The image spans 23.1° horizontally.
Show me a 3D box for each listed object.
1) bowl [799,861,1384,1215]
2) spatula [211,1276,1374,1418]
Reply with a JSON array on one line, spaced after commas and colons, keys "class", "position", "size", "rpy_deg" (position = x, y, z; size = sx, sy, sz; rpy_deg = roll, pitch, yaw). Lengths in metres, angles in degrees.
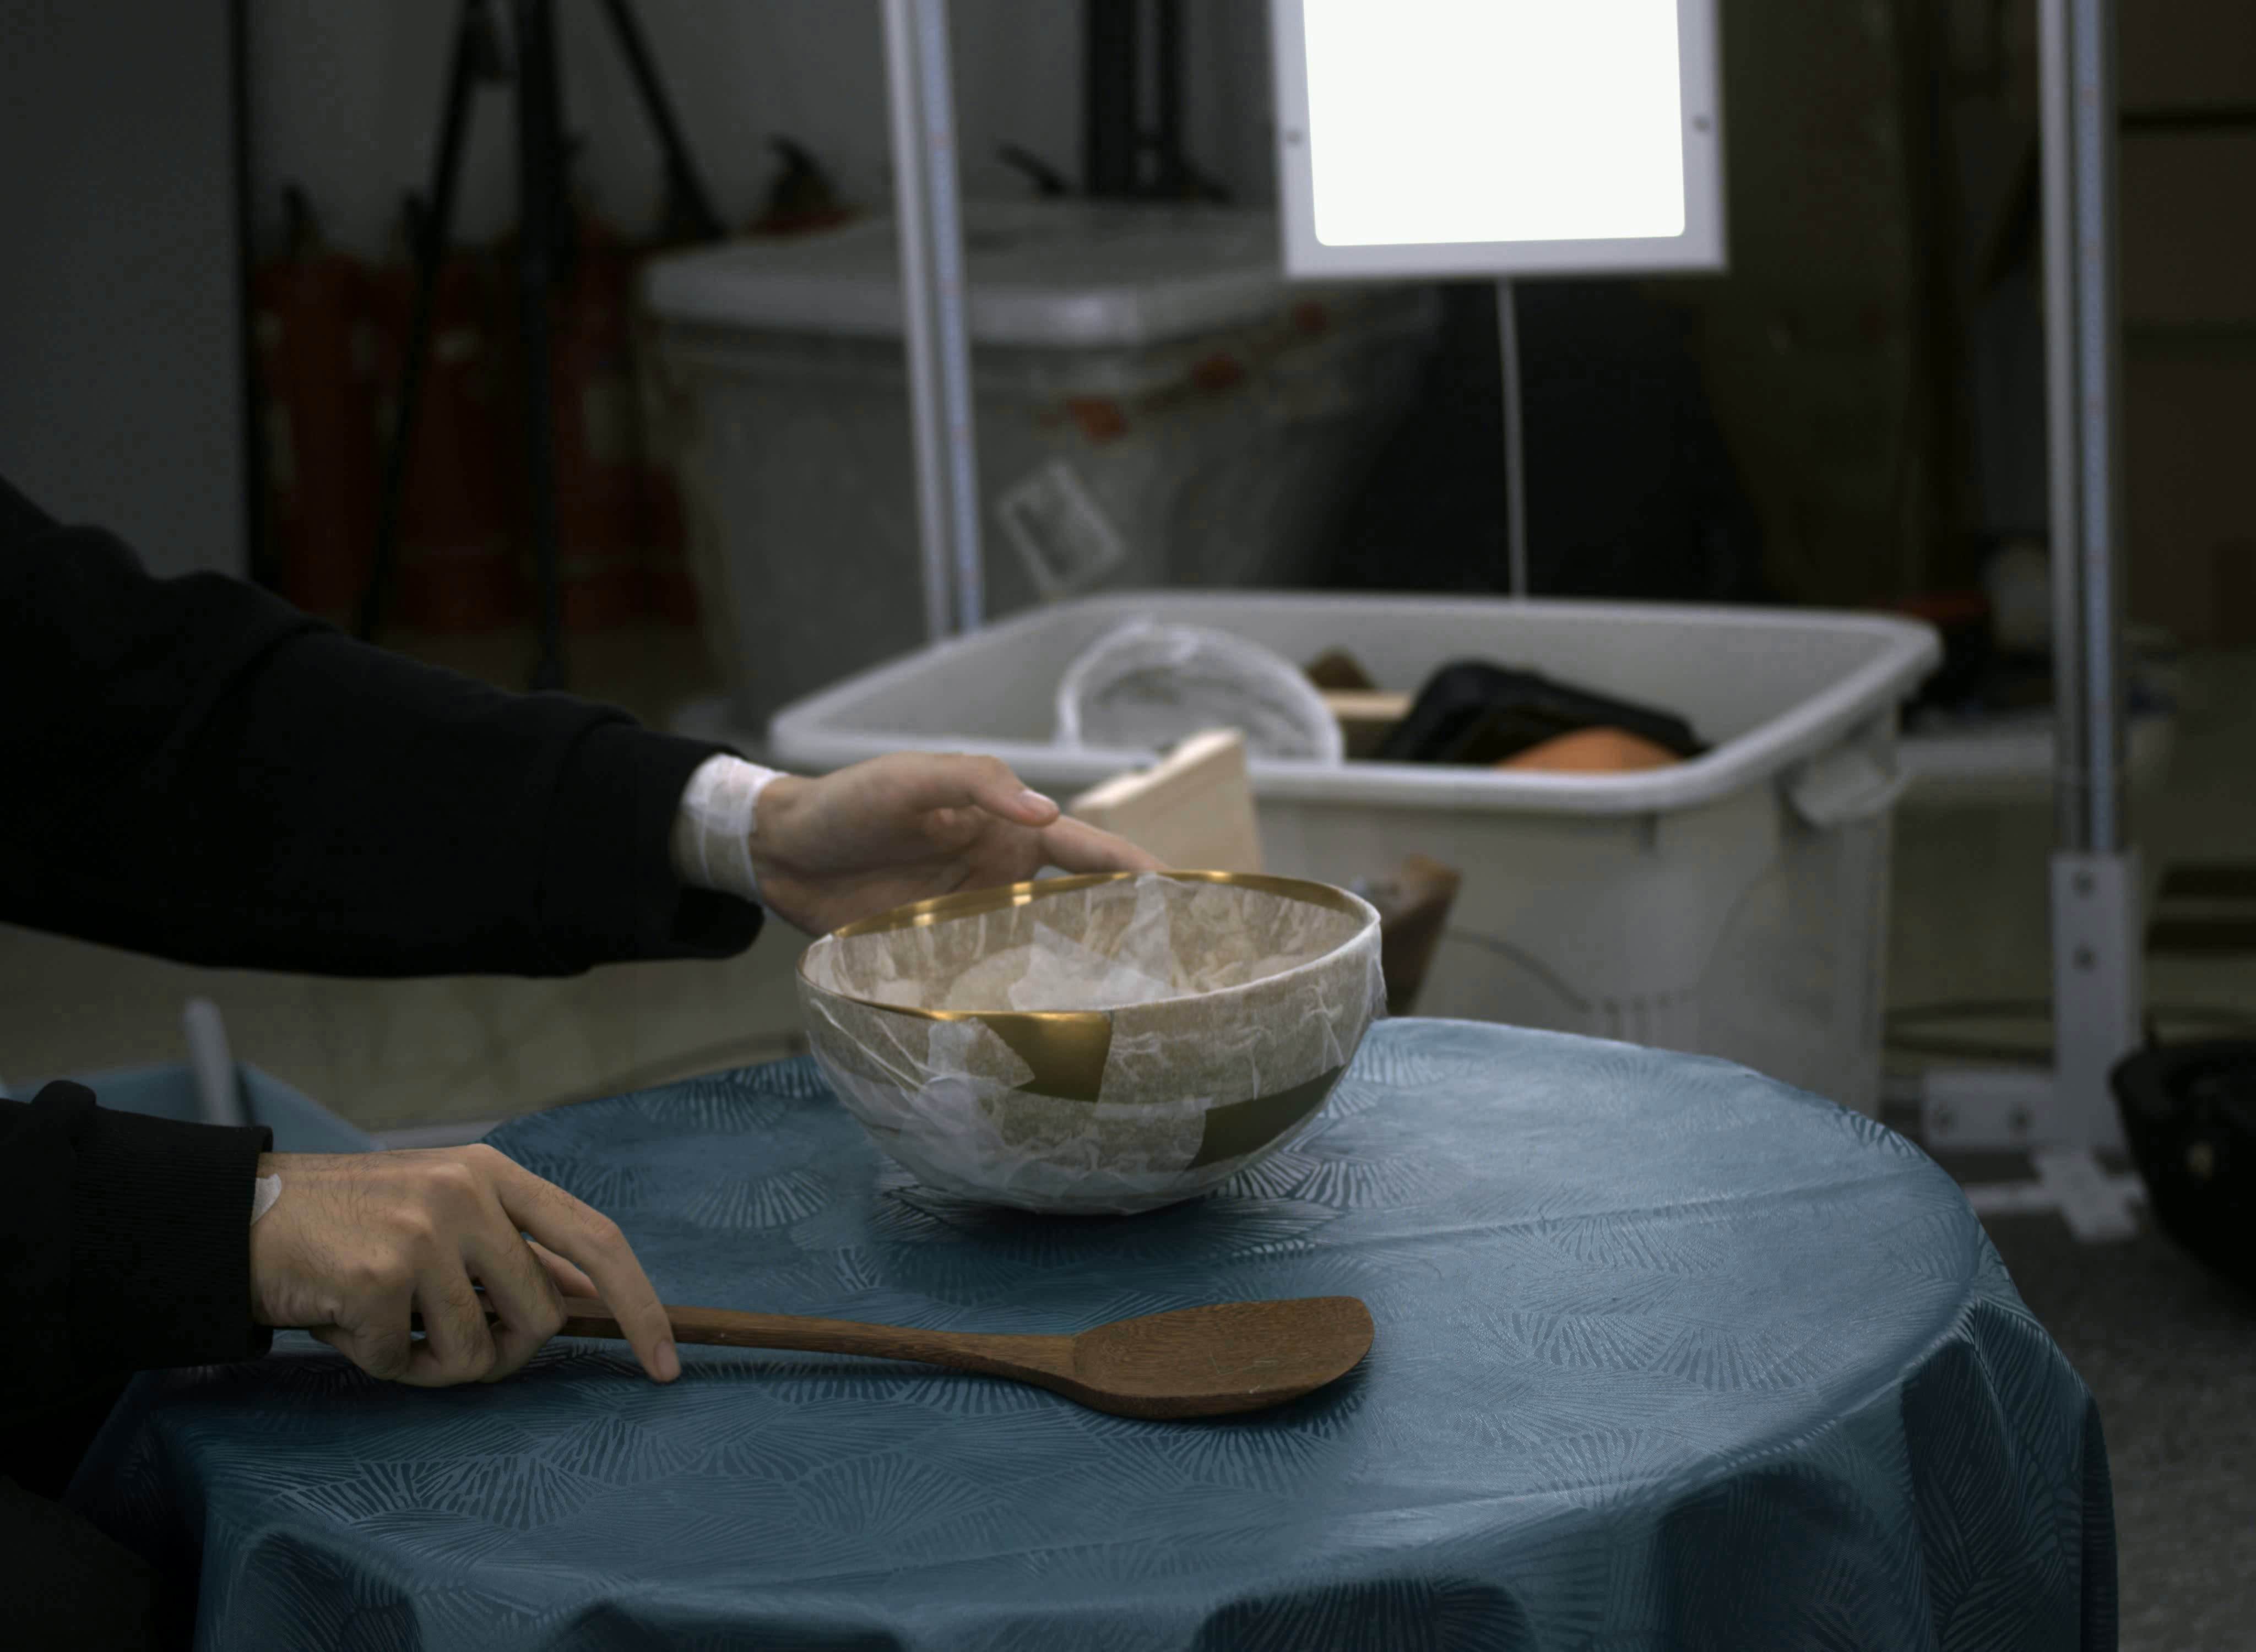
[{"class": "bowl", "position": [-0.011, 0.079, 1.893], "size": [0.214, 0.095, 0.214], "rpy_deg": [-7, 12, 0]}, {"class": "spatula", "position": [-0.112, 0.160, 1.749], "size": [0.390, 0.016, 0.094], "rpy_deg": [2, 14, 17]}]
